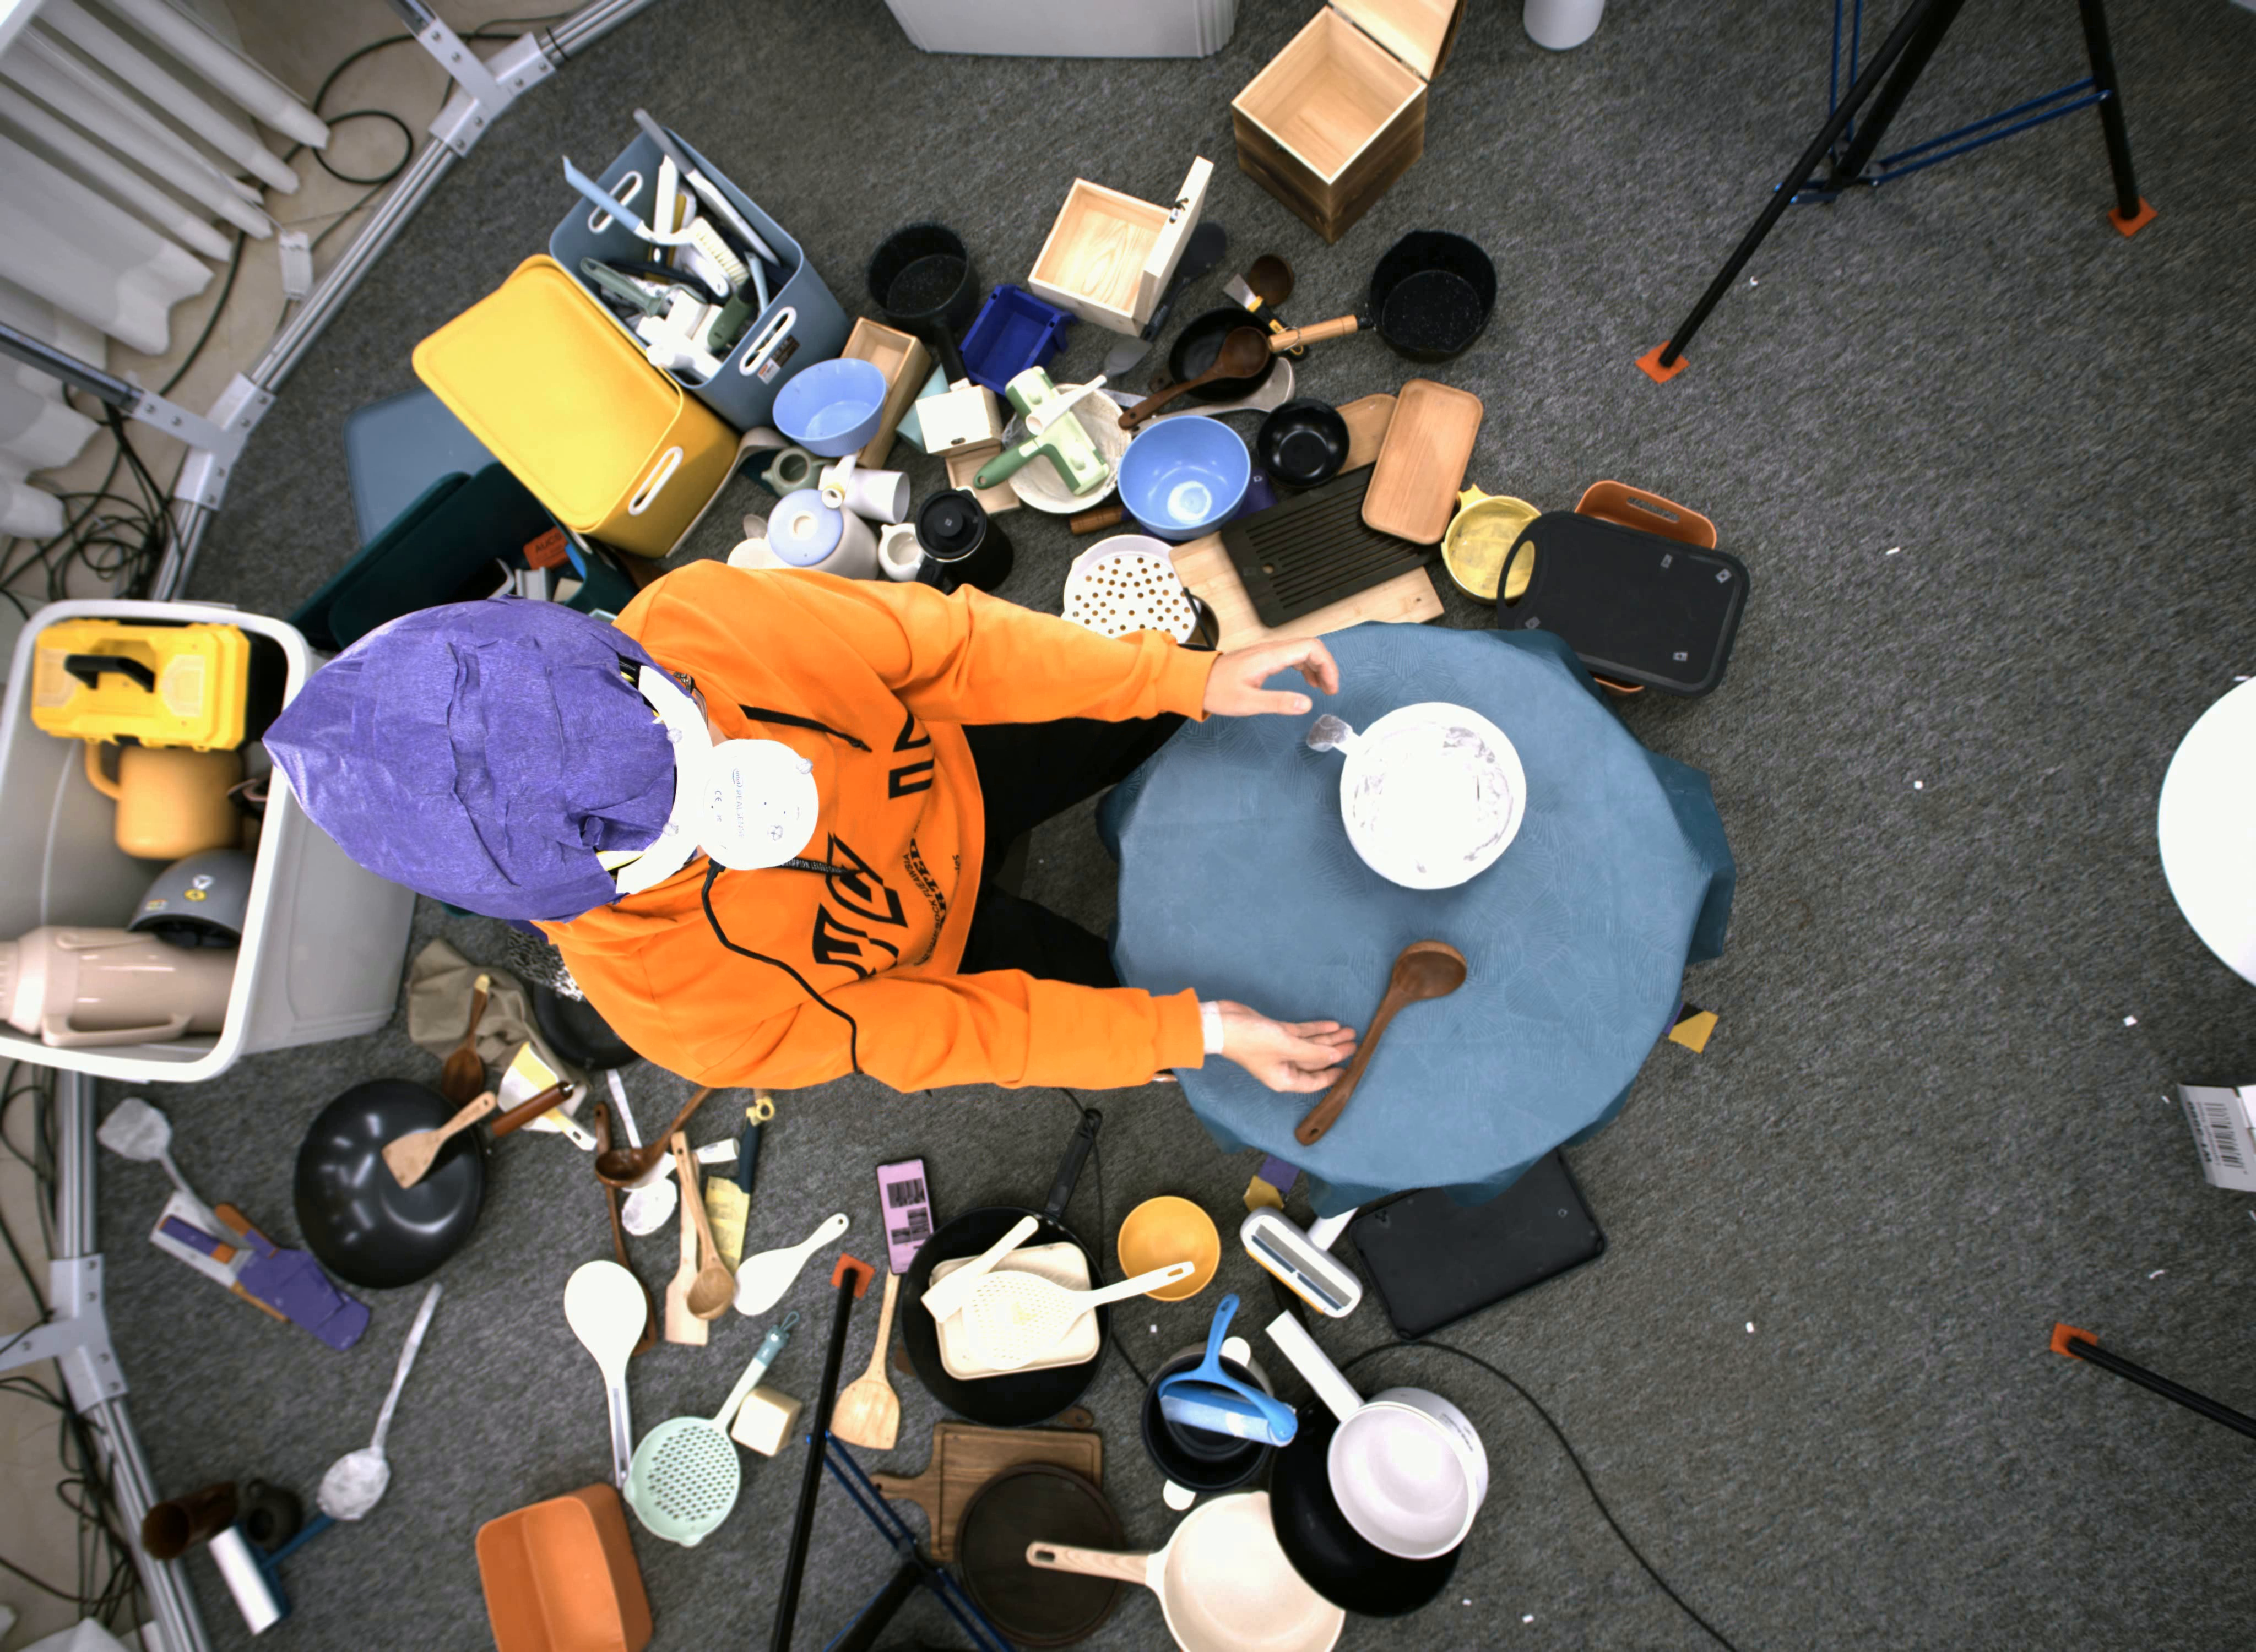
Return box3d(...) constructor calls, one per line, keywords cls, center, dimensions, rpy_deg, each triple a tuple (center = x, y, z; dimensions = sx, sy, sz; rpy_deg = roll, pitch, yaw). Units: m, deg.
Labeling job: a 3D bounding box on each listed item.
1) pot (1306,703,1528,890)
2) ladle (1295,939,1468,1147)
box3d(cls="pot", center=(0.282, -0.042, 1.394), dimensions=(0.233, 0.137, 0.179), rpy_deg=(33, 92, 10))
box3d(cls="ladle", center=(0.257, 0.227, 1.423), dimensions=(0.077, 0.065, 0.260), rpy_deg=(33, 92, -14))
